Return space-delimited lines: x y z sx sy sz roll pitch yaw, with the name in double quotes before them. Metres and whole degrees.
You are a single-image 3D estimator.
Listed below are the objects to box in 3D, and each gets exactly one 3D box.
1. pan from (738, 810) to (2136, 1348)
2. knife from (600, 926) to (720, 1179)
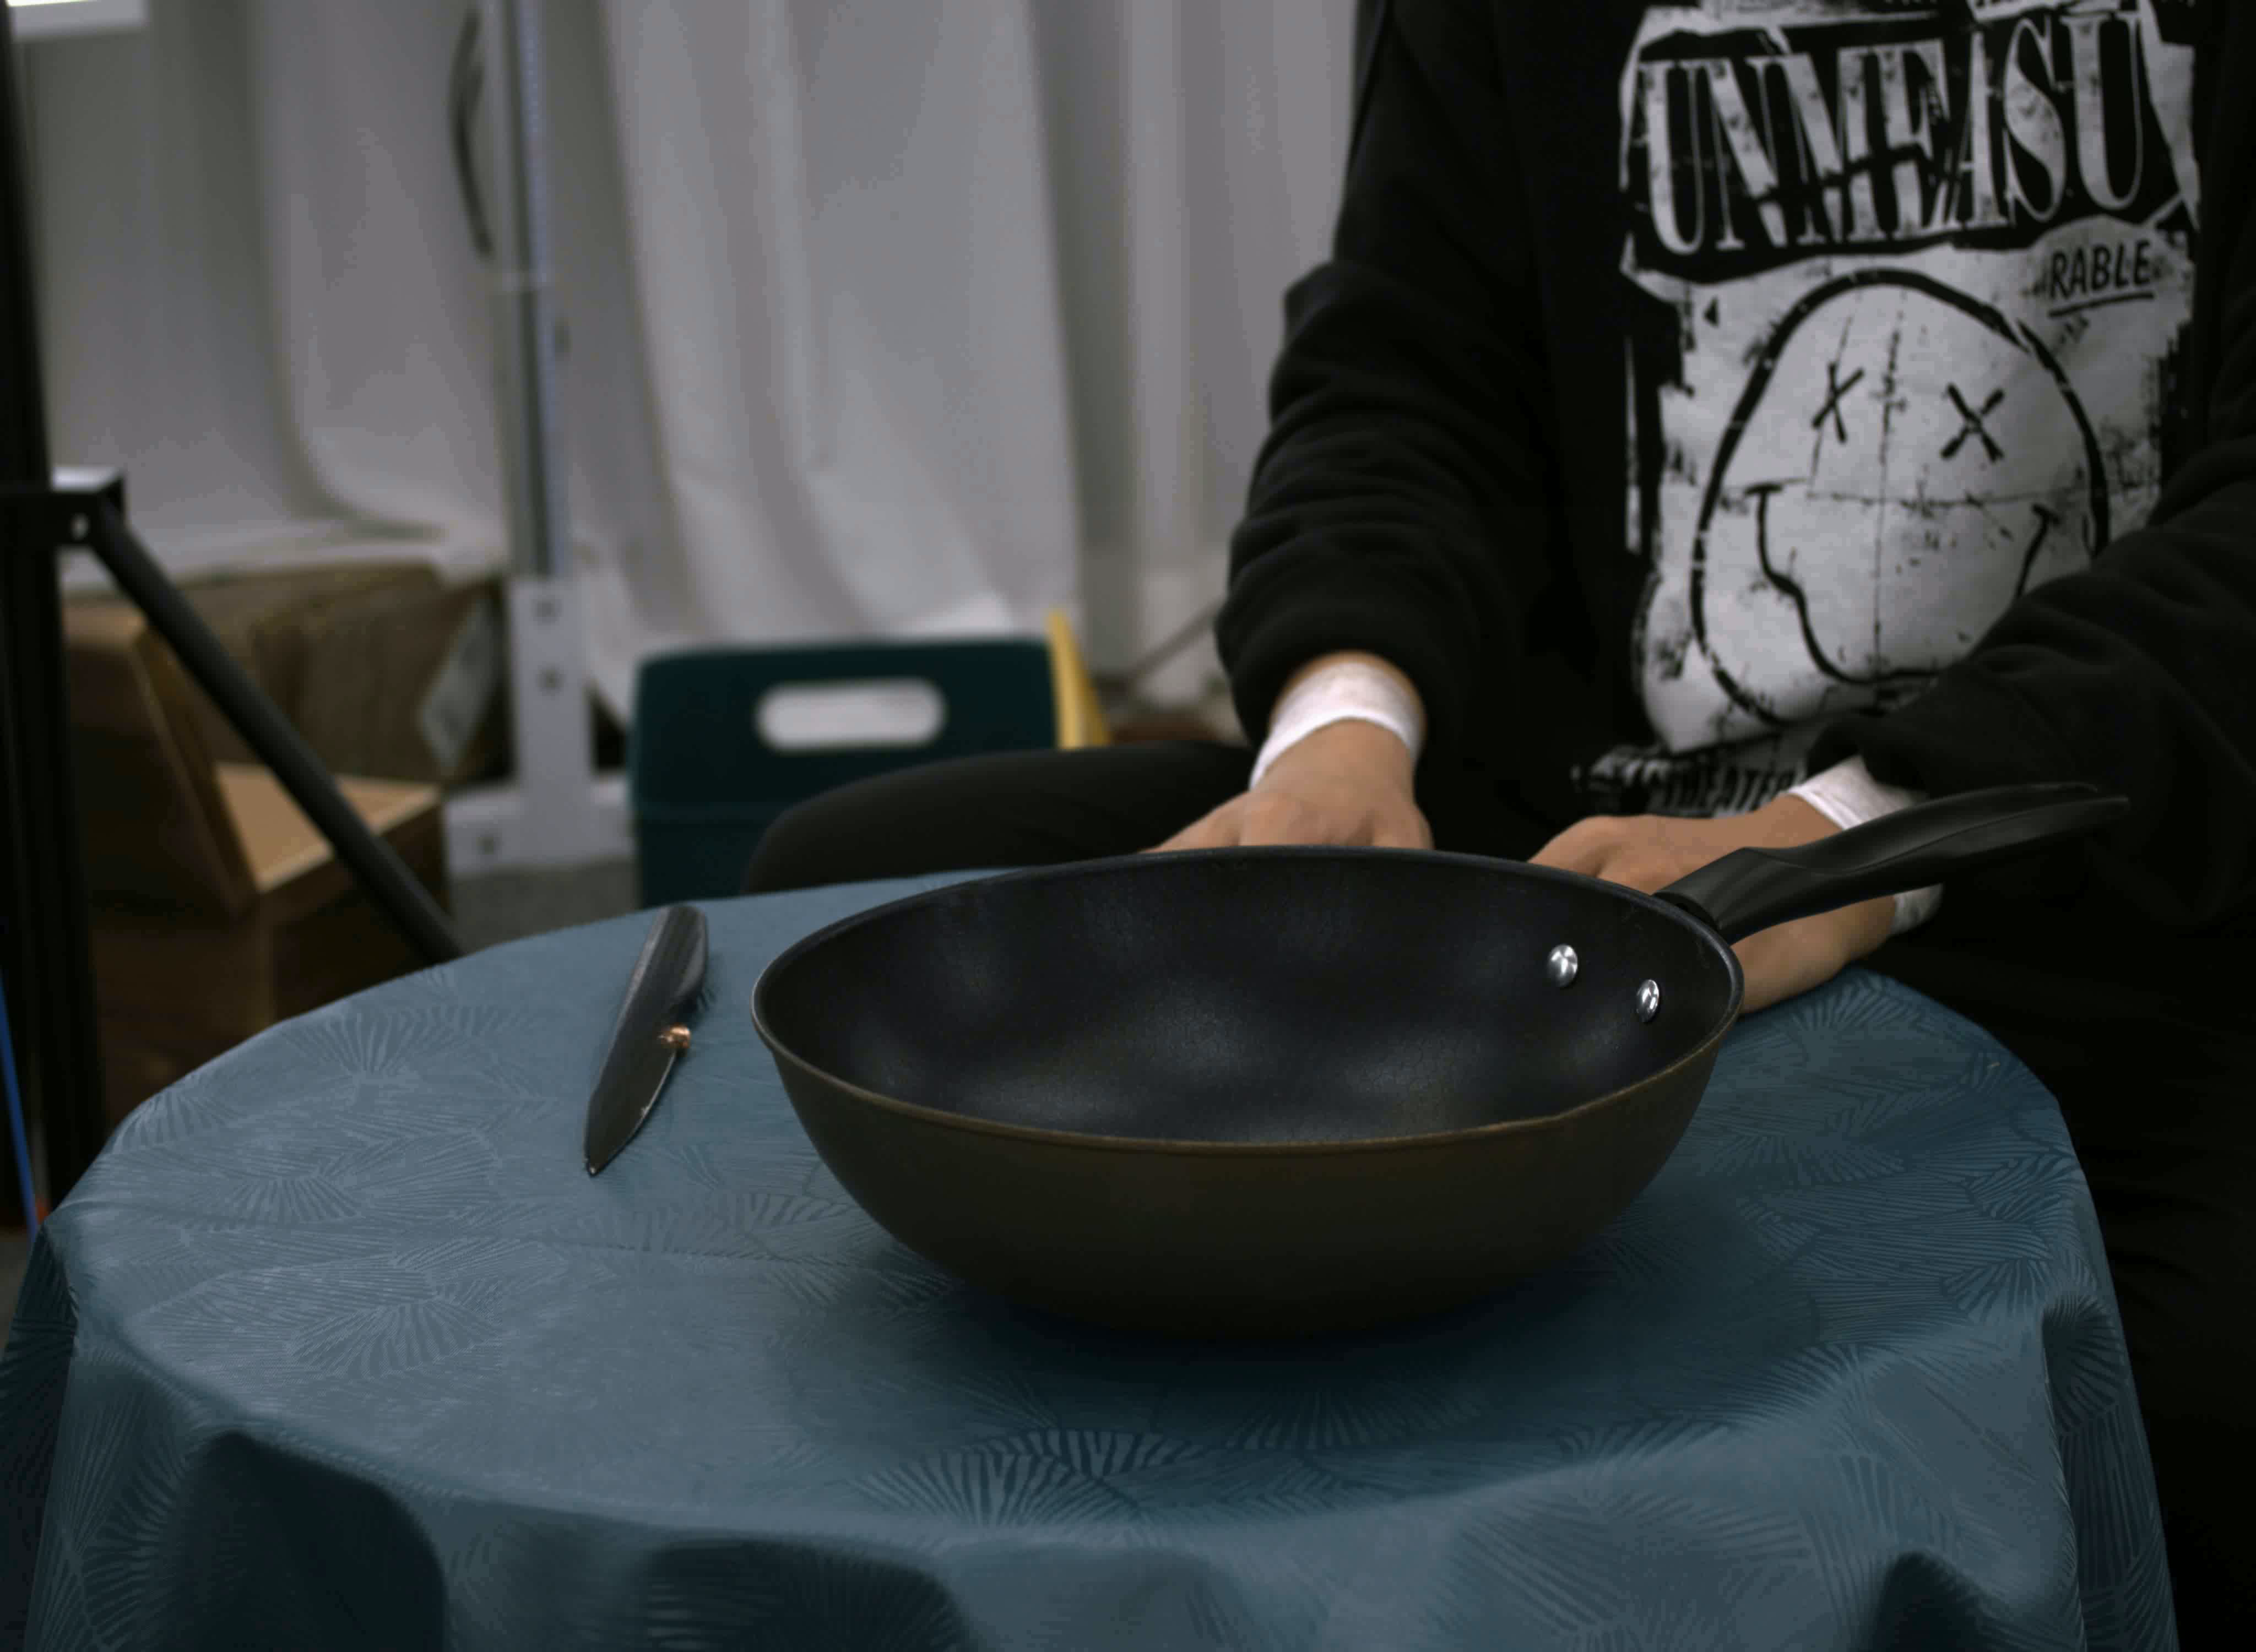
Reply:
"pan" 0.108 0.067 1.536 0.453 0.087 0.294 -10 18 -30
"knife" -0.151 0.071 1.696 0.026 0.017 0.226 11 17 0
